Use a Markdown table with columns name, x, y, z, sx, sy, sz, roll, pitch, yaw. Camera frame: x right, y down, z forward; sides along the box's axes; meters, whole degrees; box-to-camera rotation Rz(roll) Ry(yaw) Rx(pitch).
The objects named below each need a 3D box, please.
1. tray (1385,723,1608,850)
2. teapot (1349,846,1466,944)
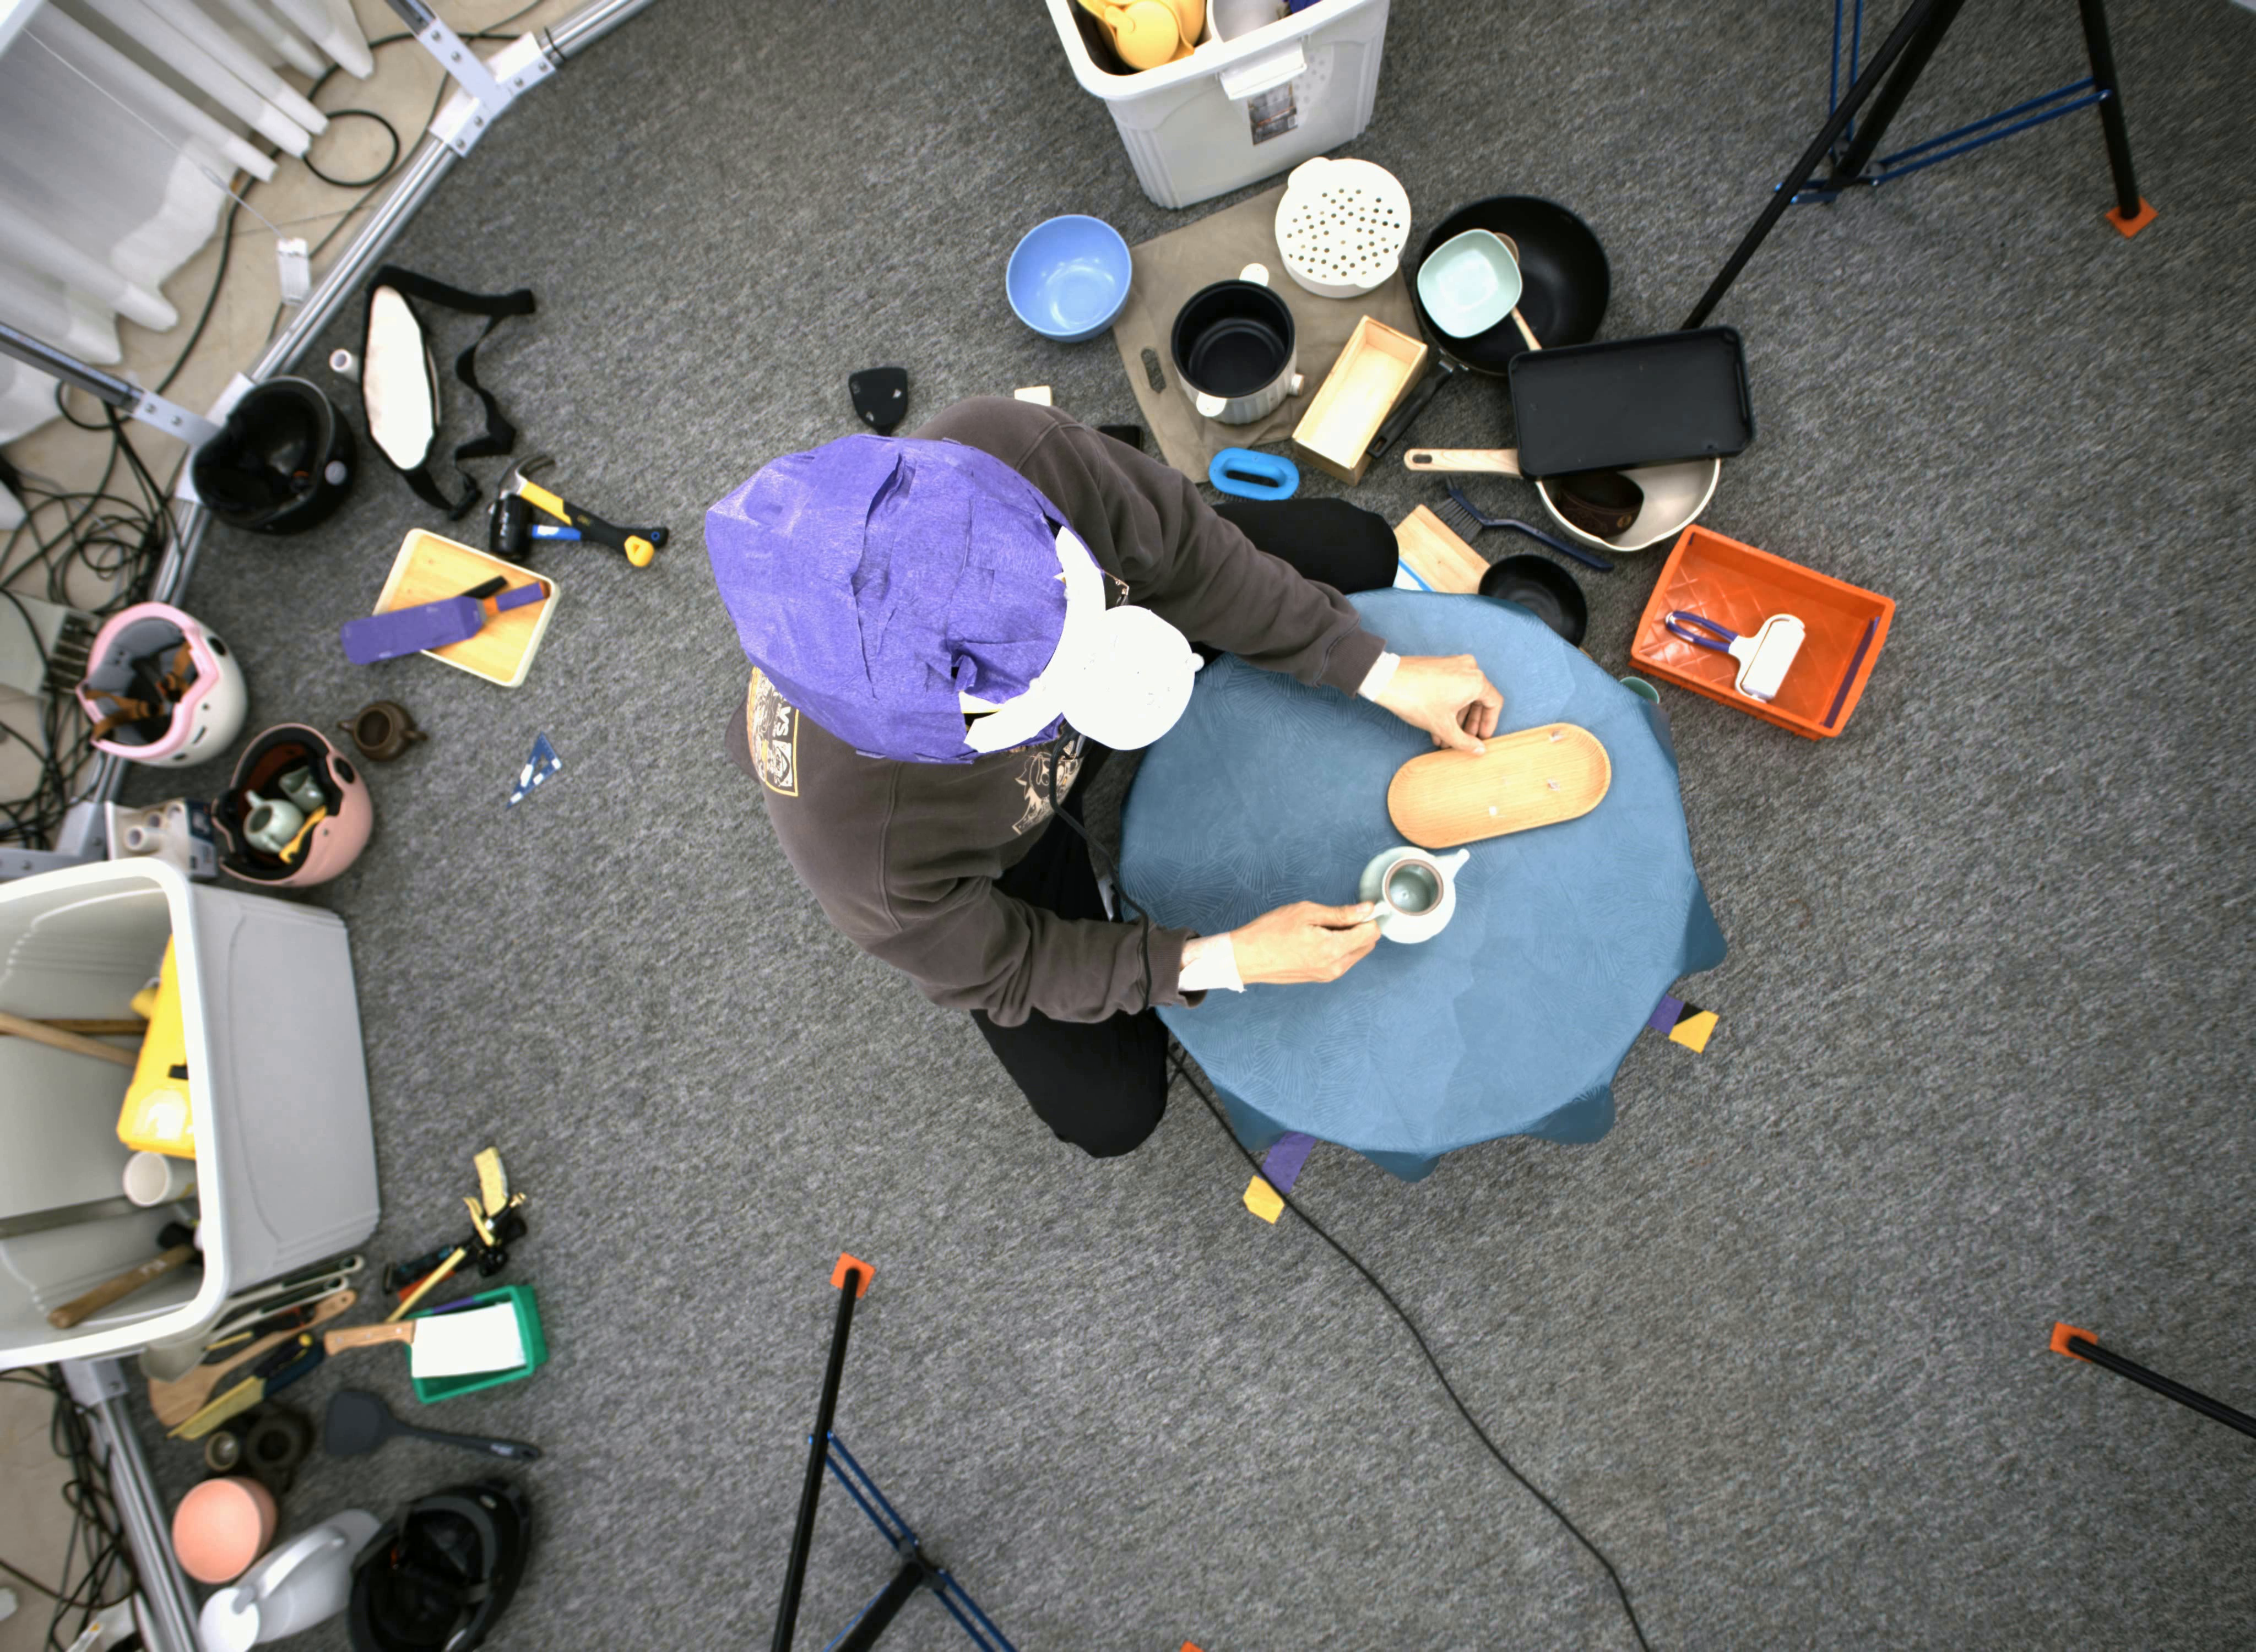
| name | x | y | z | sx | sy | sz | roll | pitch | yaw |
| --- | --- | --- | --- | --- | --- | --- | --- | --- | --- |
| tray | 0.383 | -0.043 | 1.433 | 0.232 | 0.020 | 0.101 | -14 | 84 | 11 |
| teapot | 0.270 | 0.067 | 1.350 | 0.136 | 0.062 | 0.096 | -34 | 83 | -6 |
